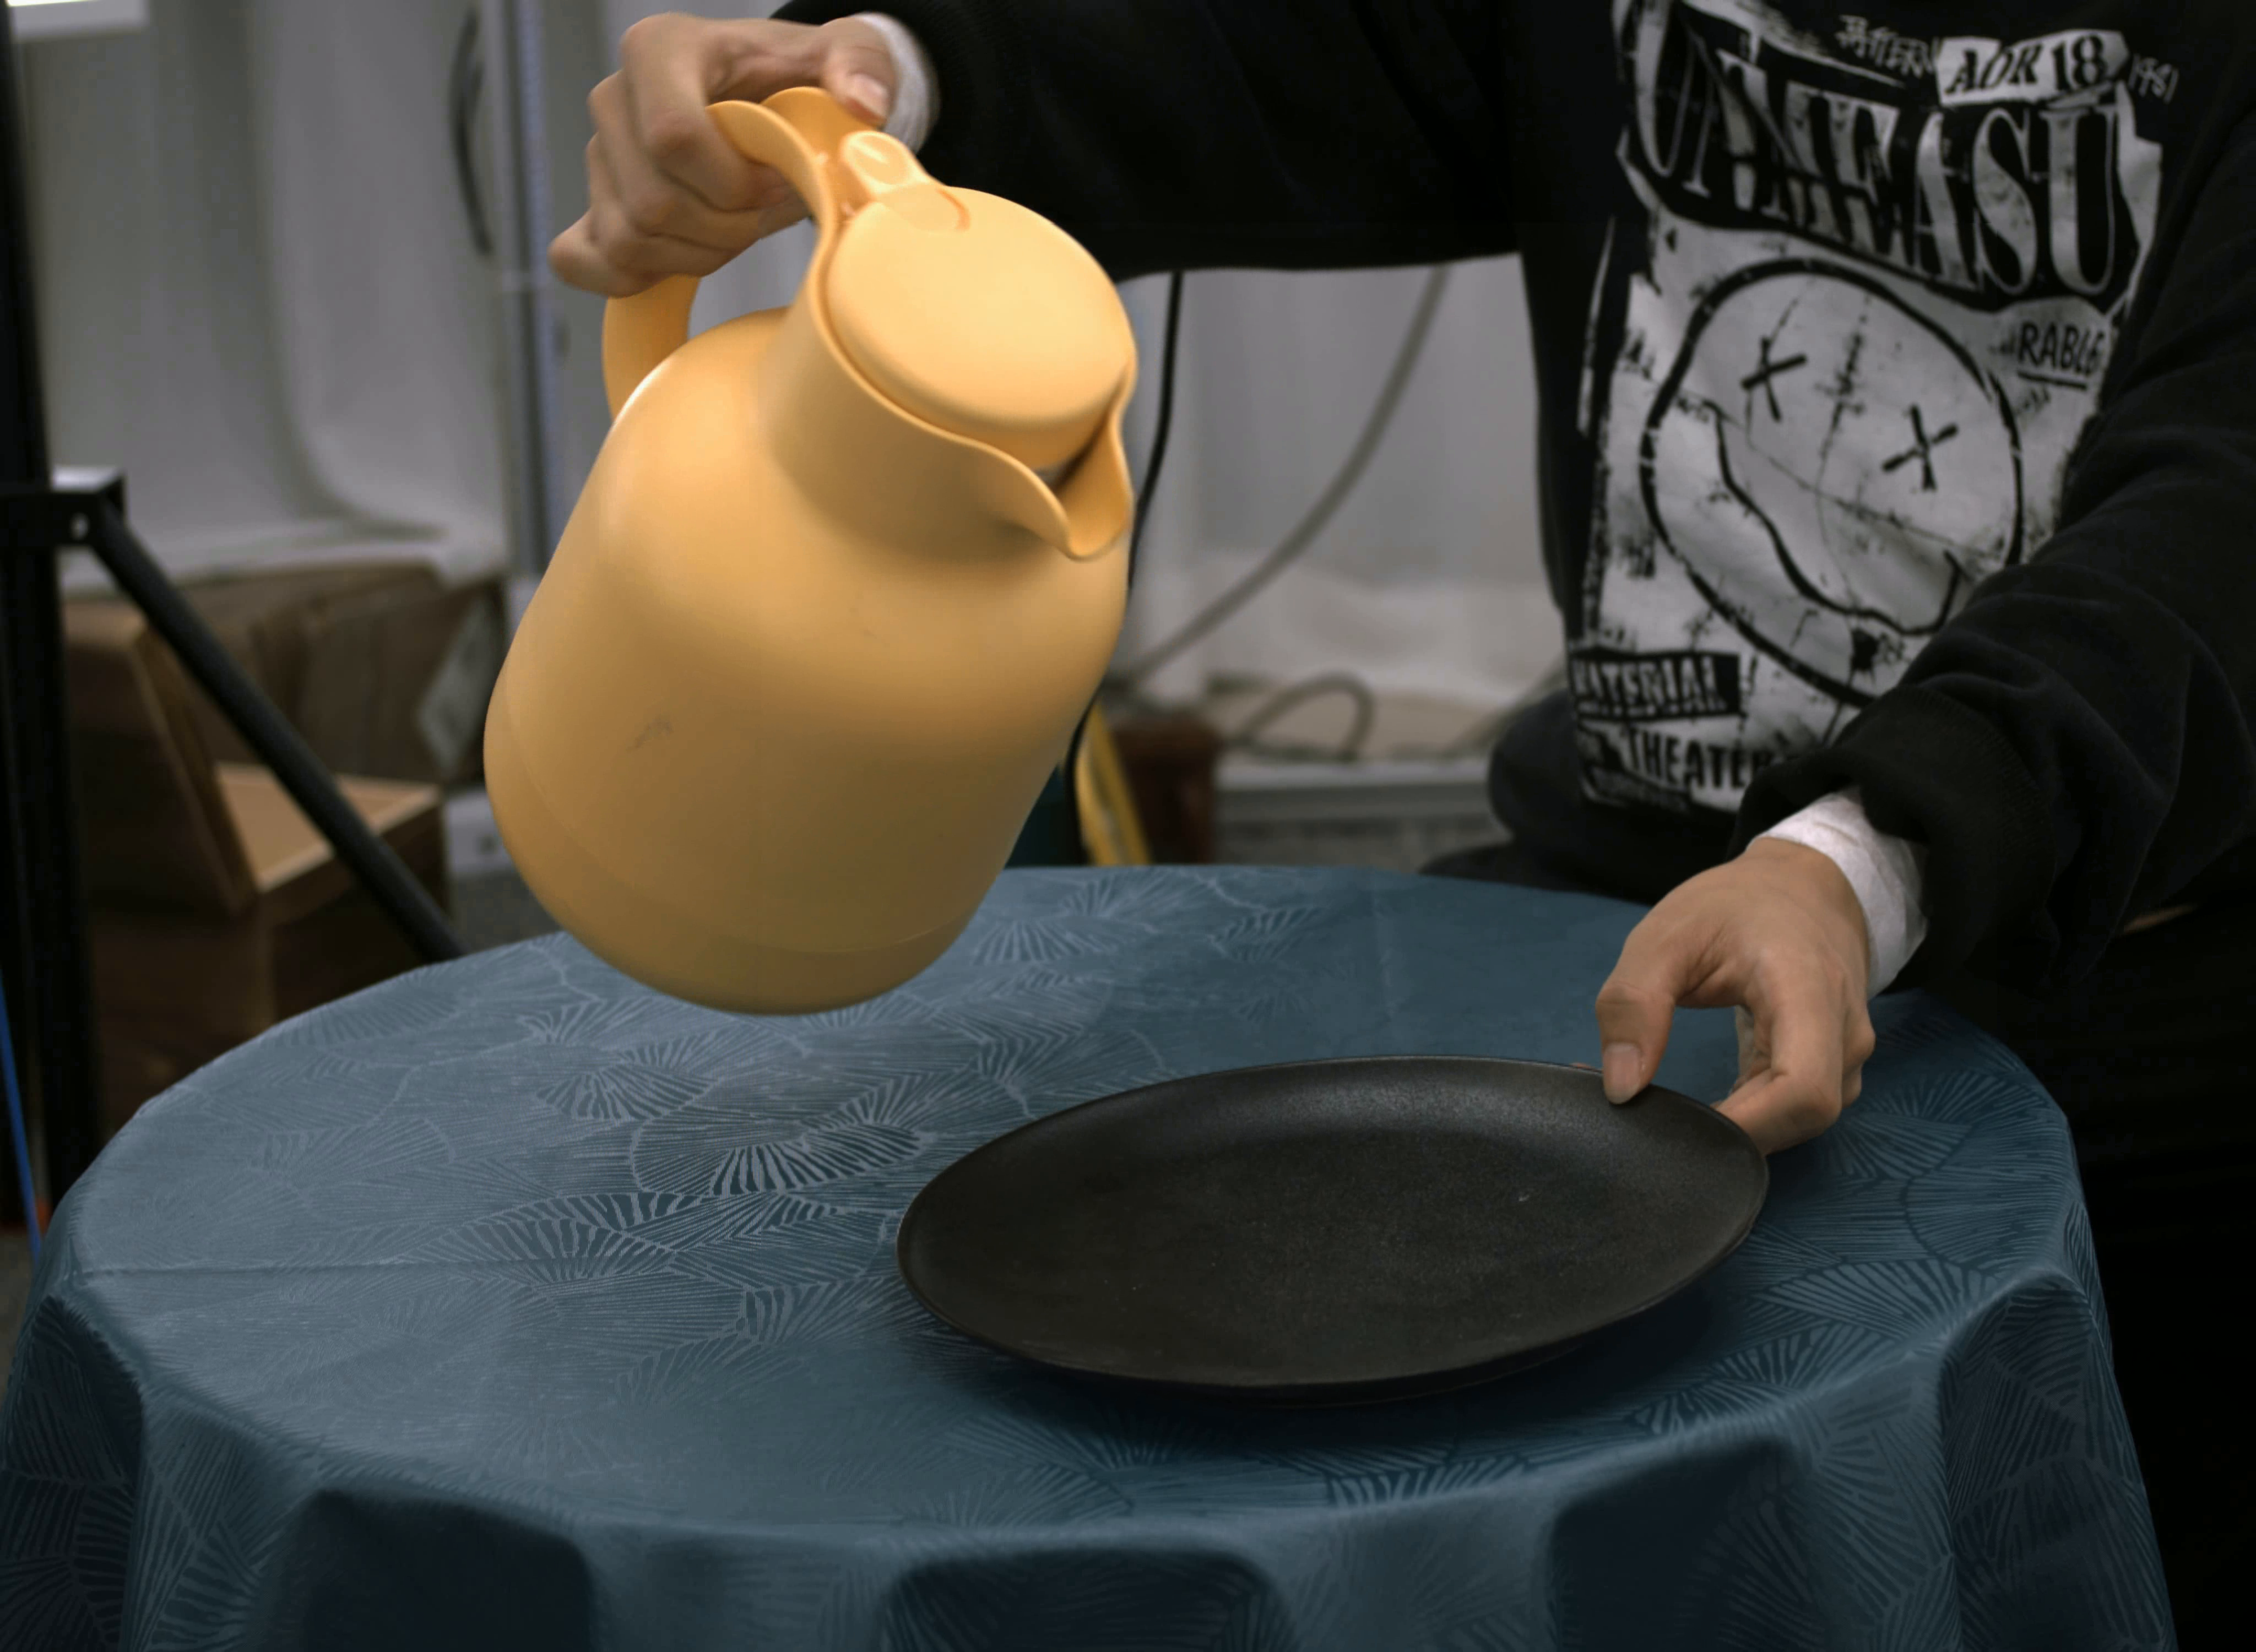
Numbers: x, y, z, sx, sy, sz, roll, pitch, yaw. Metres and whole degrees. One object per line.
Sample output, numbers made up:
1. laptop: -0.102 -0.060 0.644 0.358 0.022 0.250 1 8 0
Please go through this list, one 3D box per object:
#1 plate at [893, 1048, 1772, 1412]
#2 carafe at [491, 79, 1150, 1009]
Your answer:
1. plate: 0.057 0.114 1.460 0.243 0.023 0.246 -6 18 0
2. carafe: -0.089 -0.088 1.568 0.160 0.262 0.206 -14 62 -35
